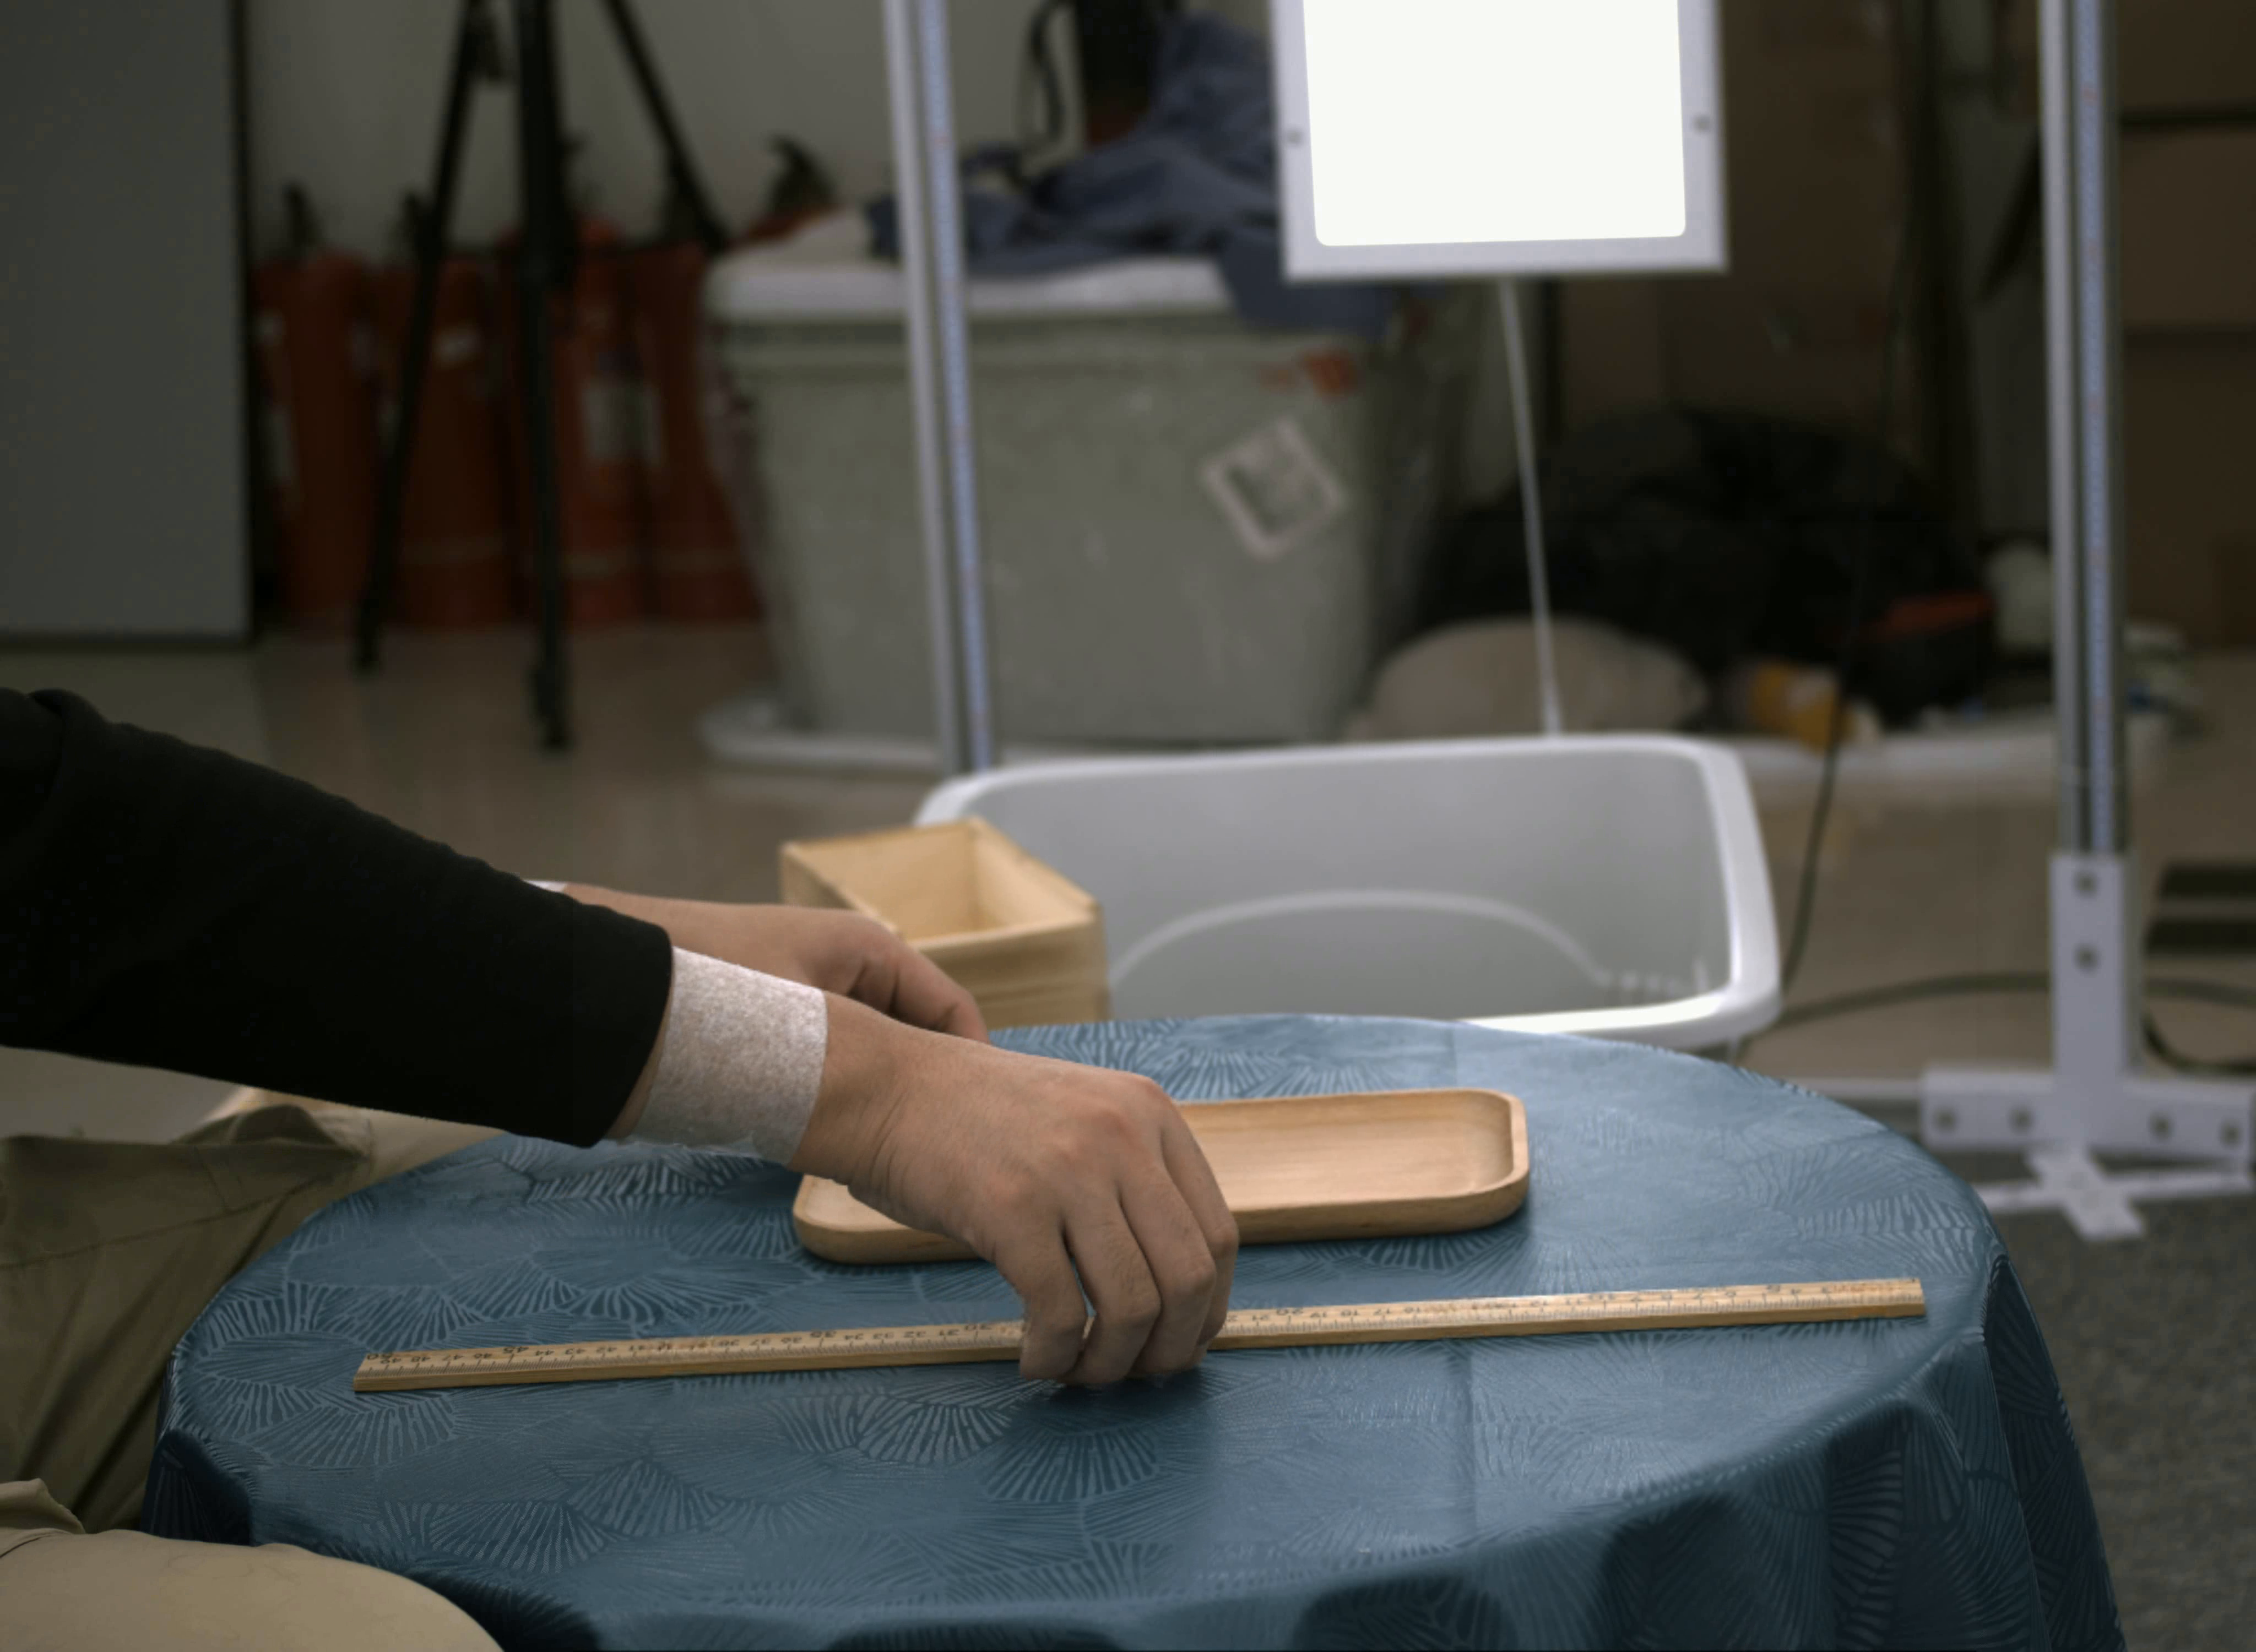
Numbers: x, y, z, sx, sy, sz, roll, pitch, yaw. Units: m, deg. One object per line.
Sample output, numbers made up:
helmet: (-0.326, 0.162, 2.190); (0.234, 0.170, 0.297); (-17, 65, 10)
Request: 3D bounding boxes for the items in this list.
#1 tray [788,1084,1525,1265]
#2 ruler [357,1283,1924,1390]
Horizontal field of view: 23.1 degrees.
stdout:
tray: (0.012, 0.119, 1.889); (0.251, 0.023, 0.129); (-4, 12, 7)
ruler: (0.002, 0.161, 1.746); (0.502, 0.006, 0.026); (-3, 11, 8)
